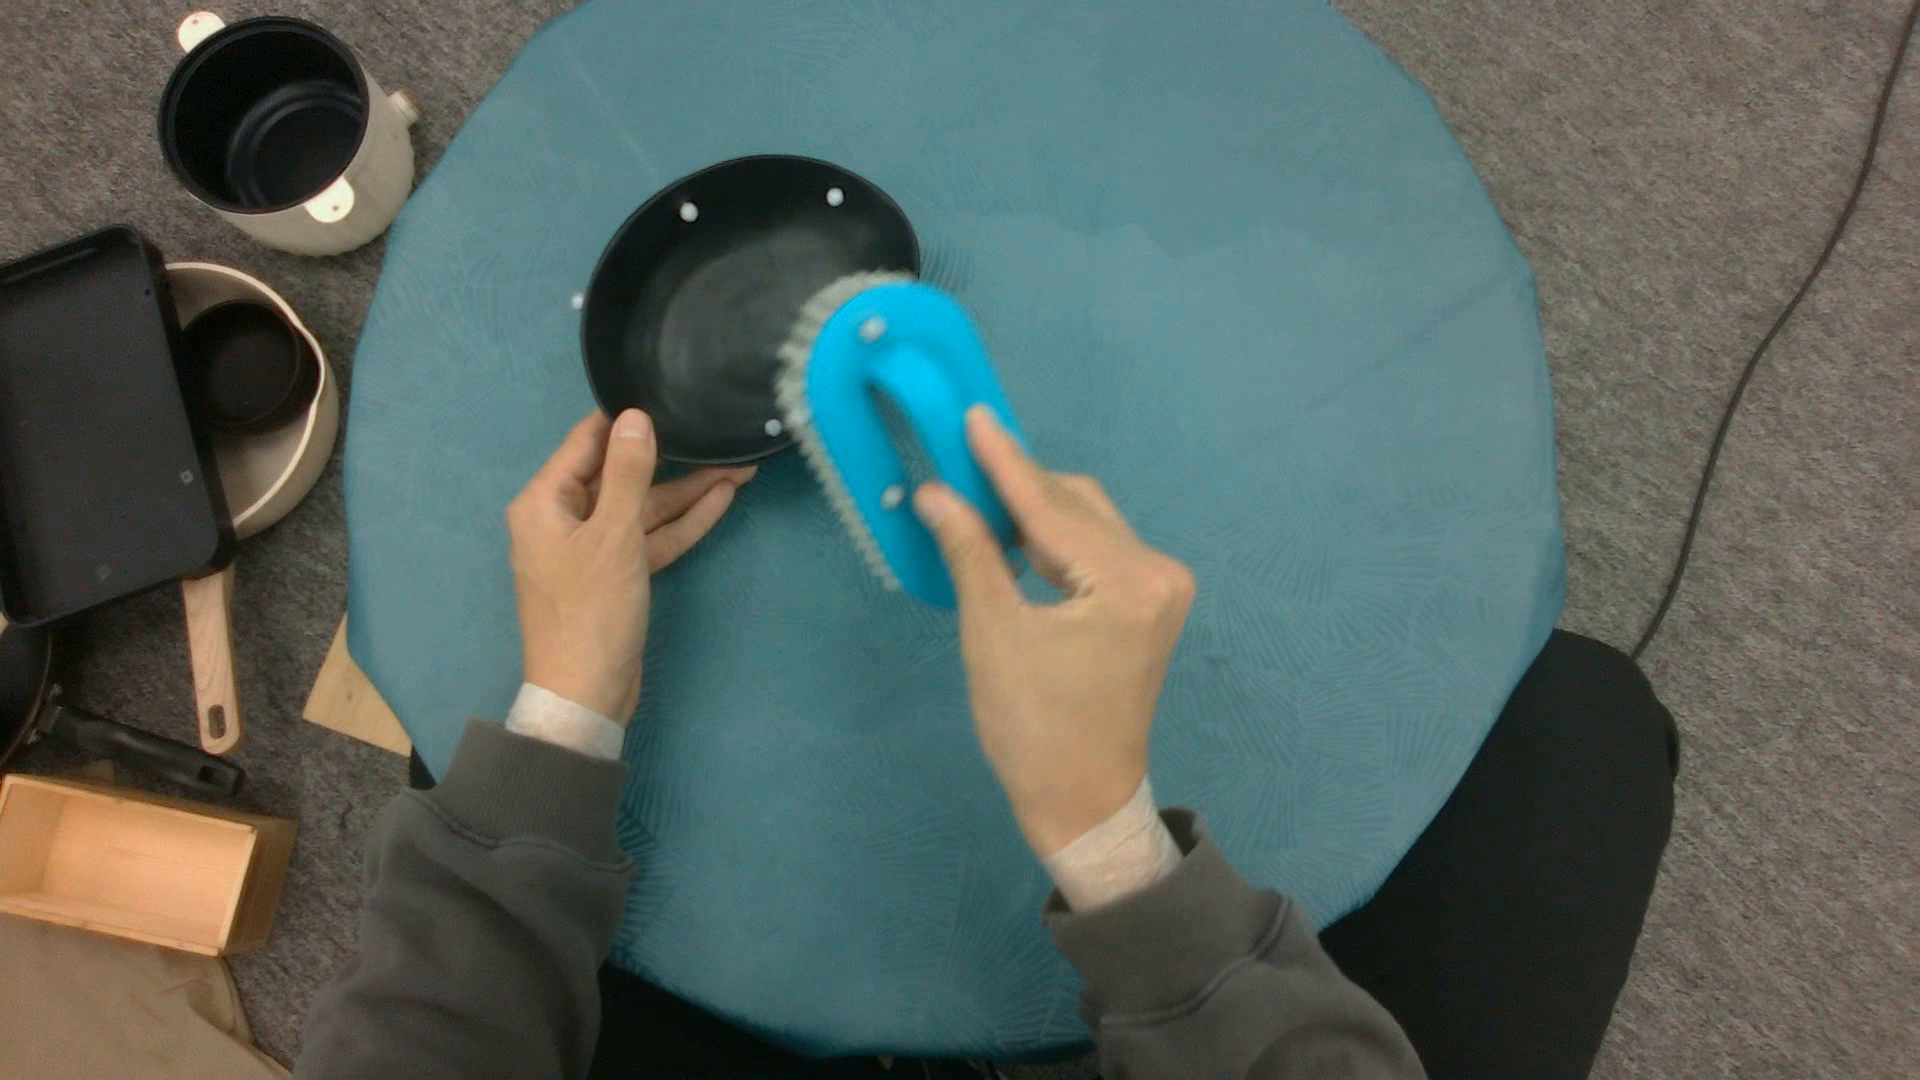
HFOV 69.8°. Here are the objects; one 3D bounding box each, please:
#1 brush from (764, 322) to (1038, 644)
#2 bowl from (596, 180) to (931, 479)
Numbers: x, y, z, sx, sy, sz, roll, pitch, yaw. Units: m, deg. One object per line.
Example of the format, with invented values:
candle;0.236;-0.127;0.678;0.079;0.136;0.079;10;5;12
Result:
brush;-0.014;-0.022;0.547;0.084;0.064;0.141;-37;117;-18
bowl;-0.093;-0.099;0.677;0.170;0.066;0.137;-41;82;-8
